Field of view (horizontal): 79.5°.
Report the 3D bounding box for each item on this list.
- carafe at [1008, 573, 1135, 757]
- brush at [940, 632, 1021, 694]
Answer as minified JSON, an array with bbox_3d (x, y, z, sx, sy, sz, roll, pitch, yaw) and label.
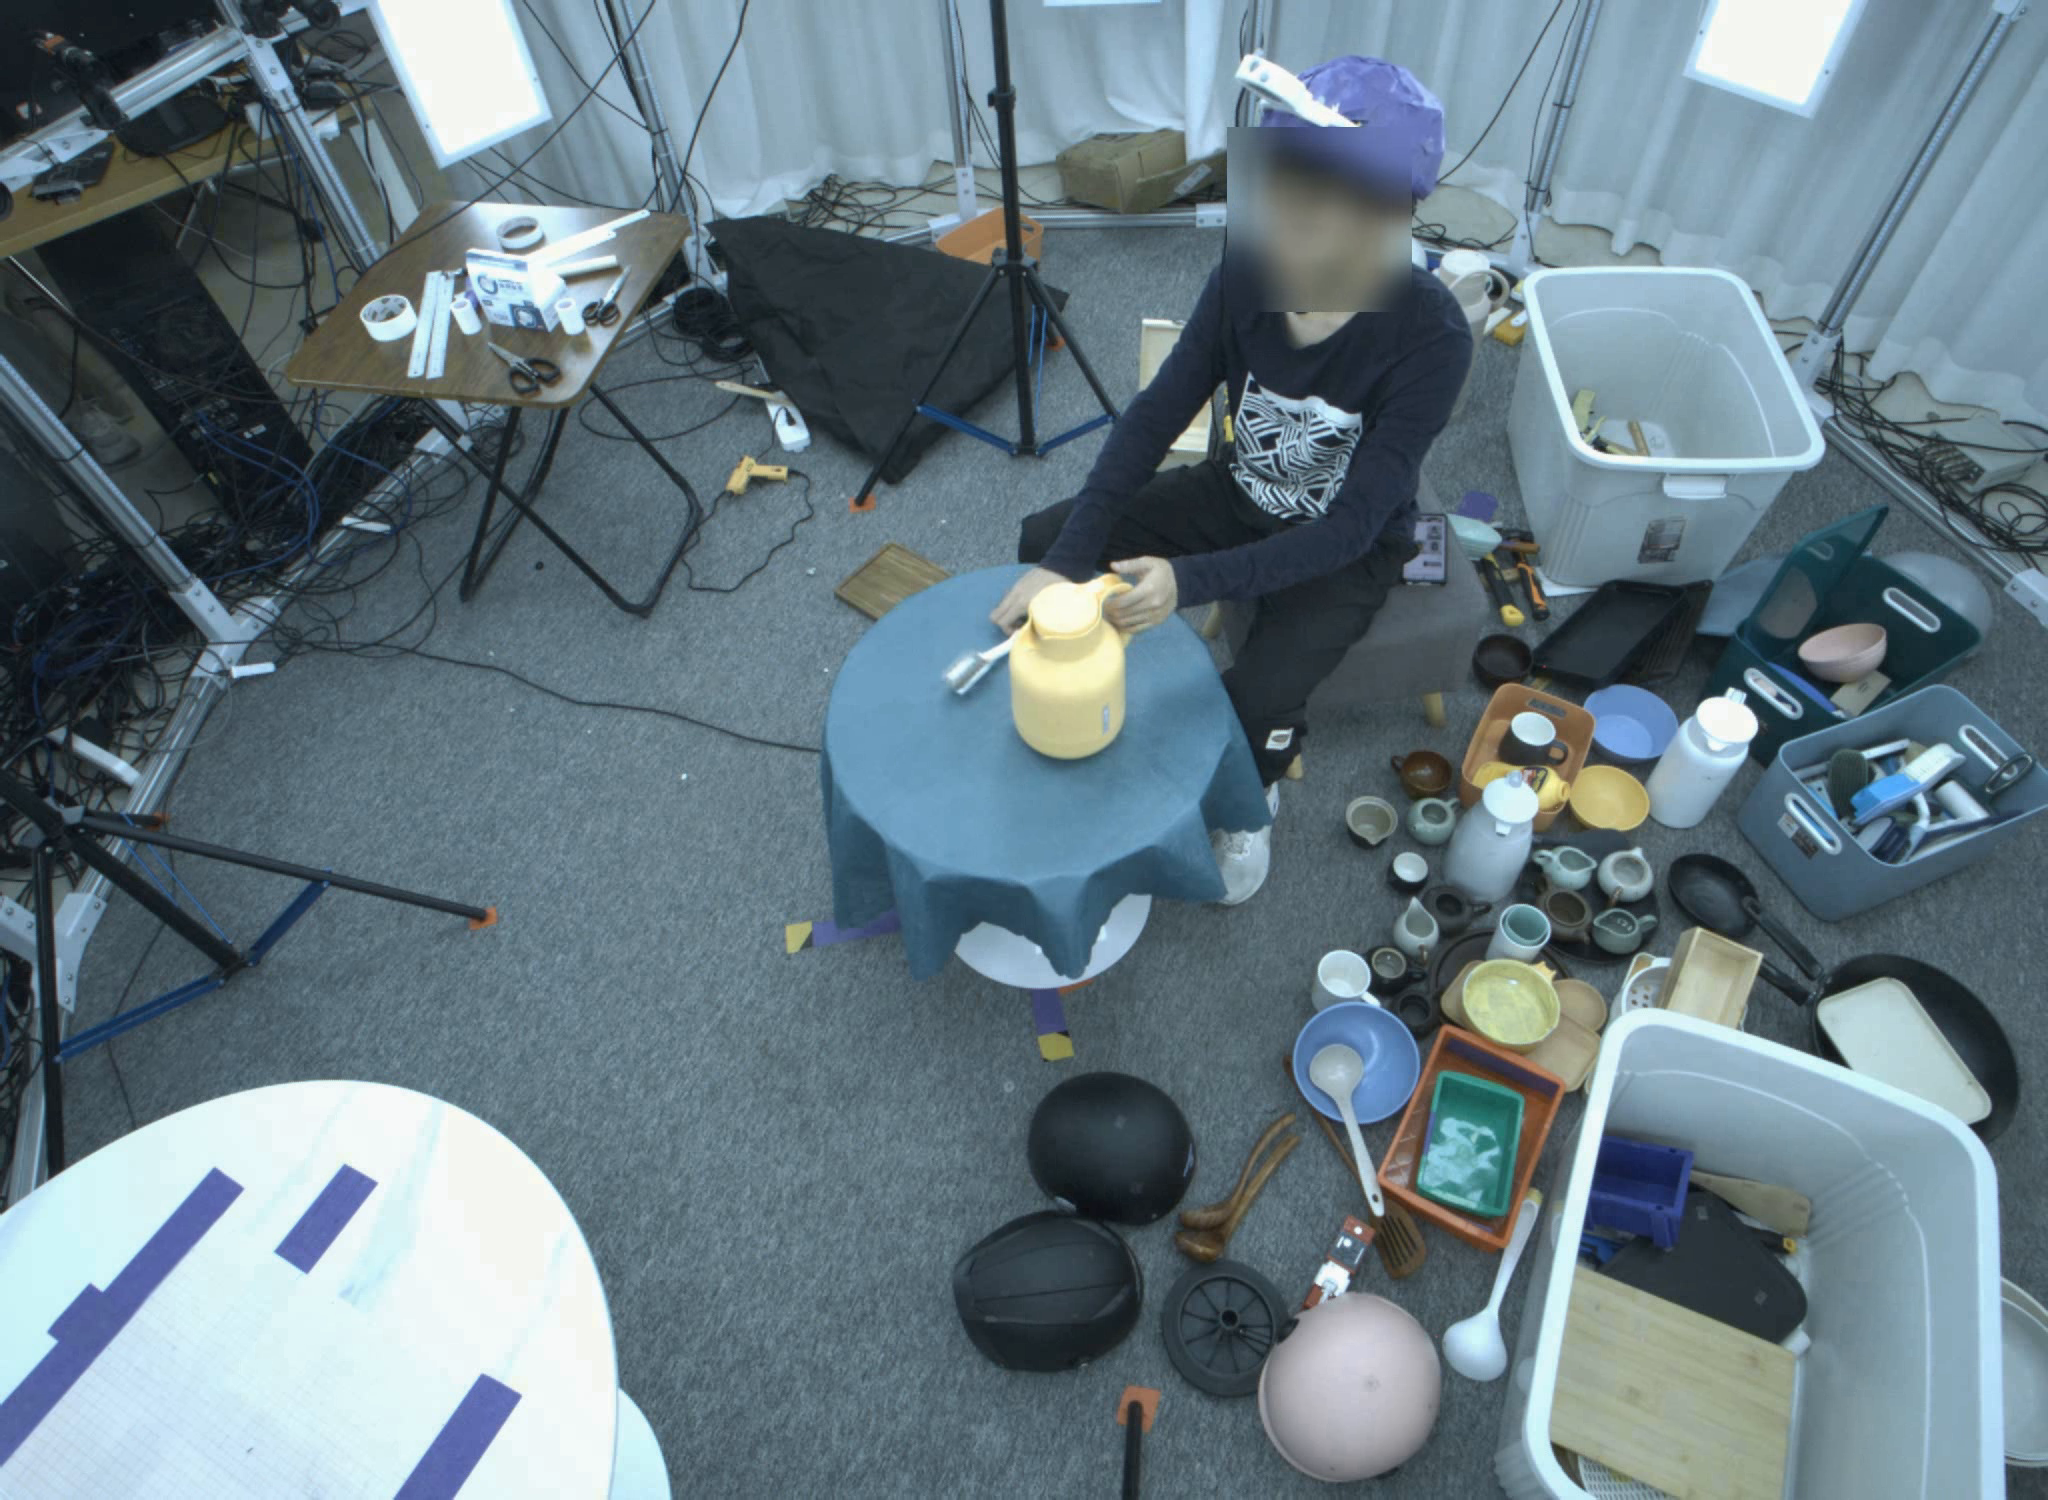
[{"bbox_3d":[0.074,-0.126,1.705,0.204,0.263,0.160,-37,63,-20],"label":"carafe"},{"bbox_3d":[-0.022,-0.163,1.865,0.245,0.051,0.034,-34,58,-19],"label":"brush"}]
